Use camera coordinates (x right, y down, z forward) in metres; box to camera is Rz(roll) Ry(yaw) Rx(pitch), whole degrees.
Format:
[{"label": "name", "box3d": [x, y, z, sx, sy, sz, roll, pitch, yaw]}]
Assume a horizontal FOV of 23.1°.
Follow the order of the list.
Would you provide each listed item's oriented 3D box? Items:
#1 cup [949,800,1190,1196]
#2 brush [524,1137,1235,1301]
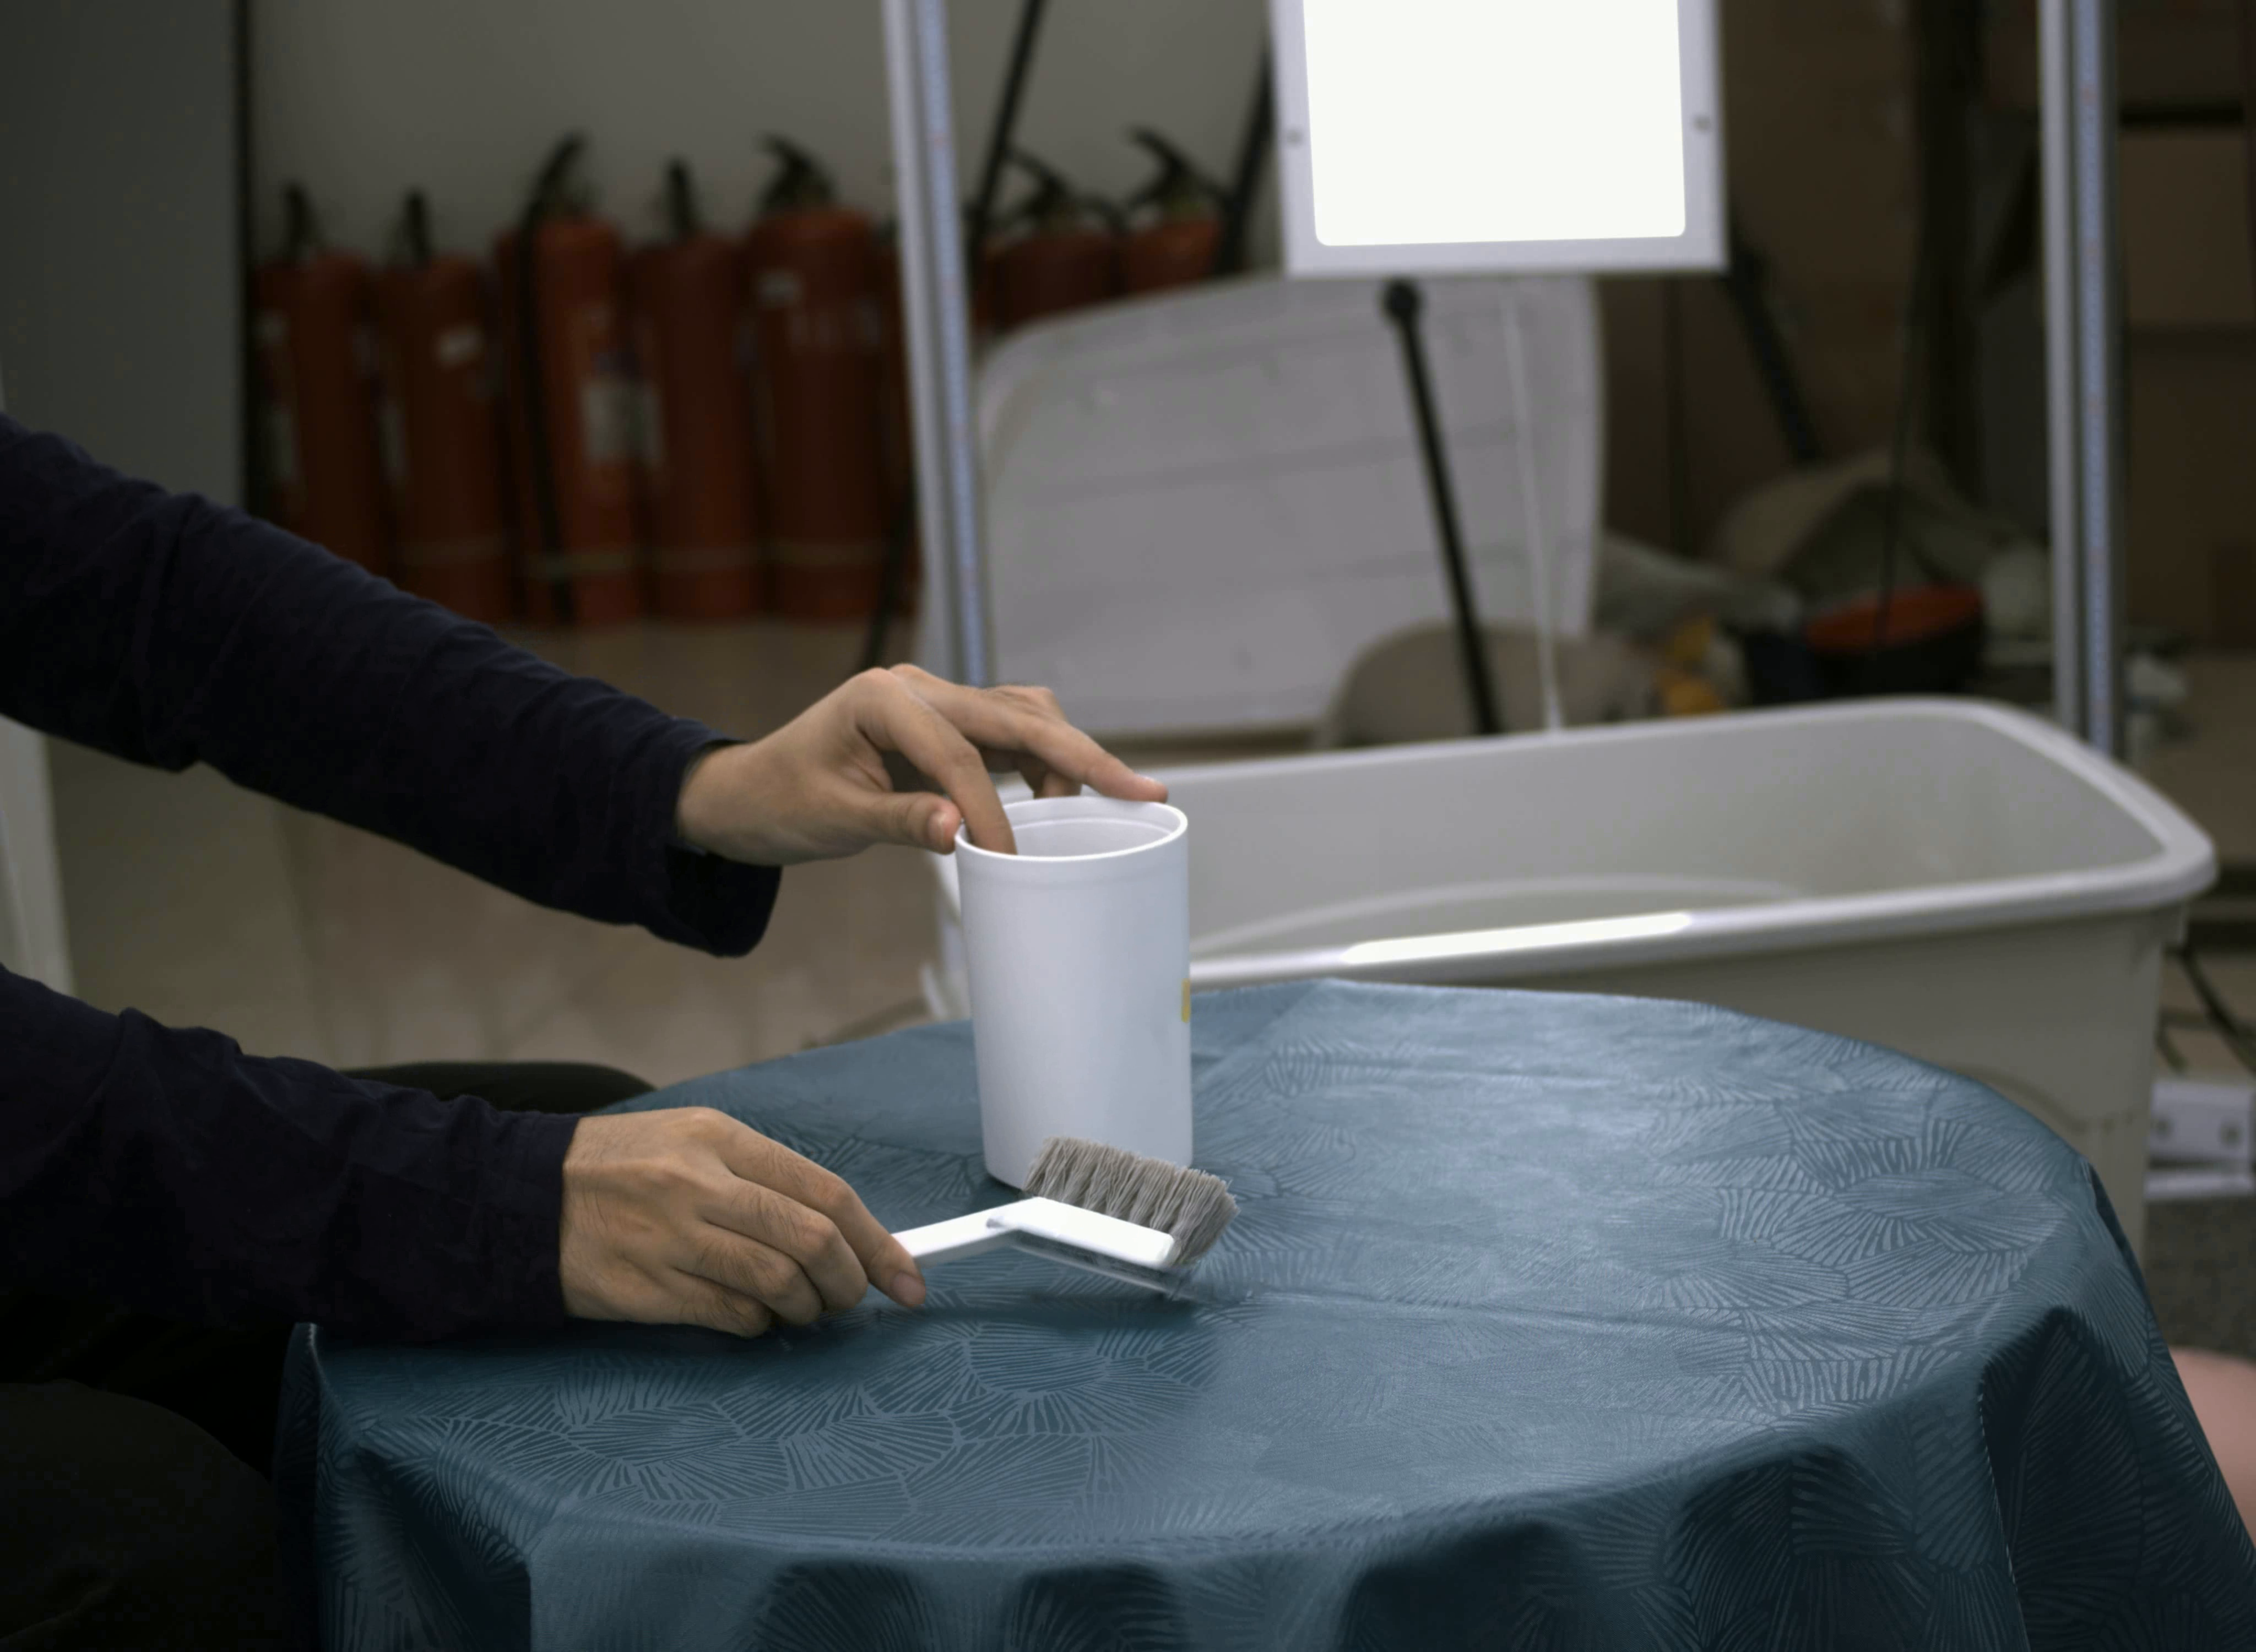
[{"label": "cup", "box3d": [-0.018, 0.061, 1.910, 0.081, 0.126, 0.081, -4, 14, 0]}, {"label": "brush", "box3d": [-0.084, 0.126, 1.808, 0.247, 0.050, 0.034, 0, -11, 21]}]
